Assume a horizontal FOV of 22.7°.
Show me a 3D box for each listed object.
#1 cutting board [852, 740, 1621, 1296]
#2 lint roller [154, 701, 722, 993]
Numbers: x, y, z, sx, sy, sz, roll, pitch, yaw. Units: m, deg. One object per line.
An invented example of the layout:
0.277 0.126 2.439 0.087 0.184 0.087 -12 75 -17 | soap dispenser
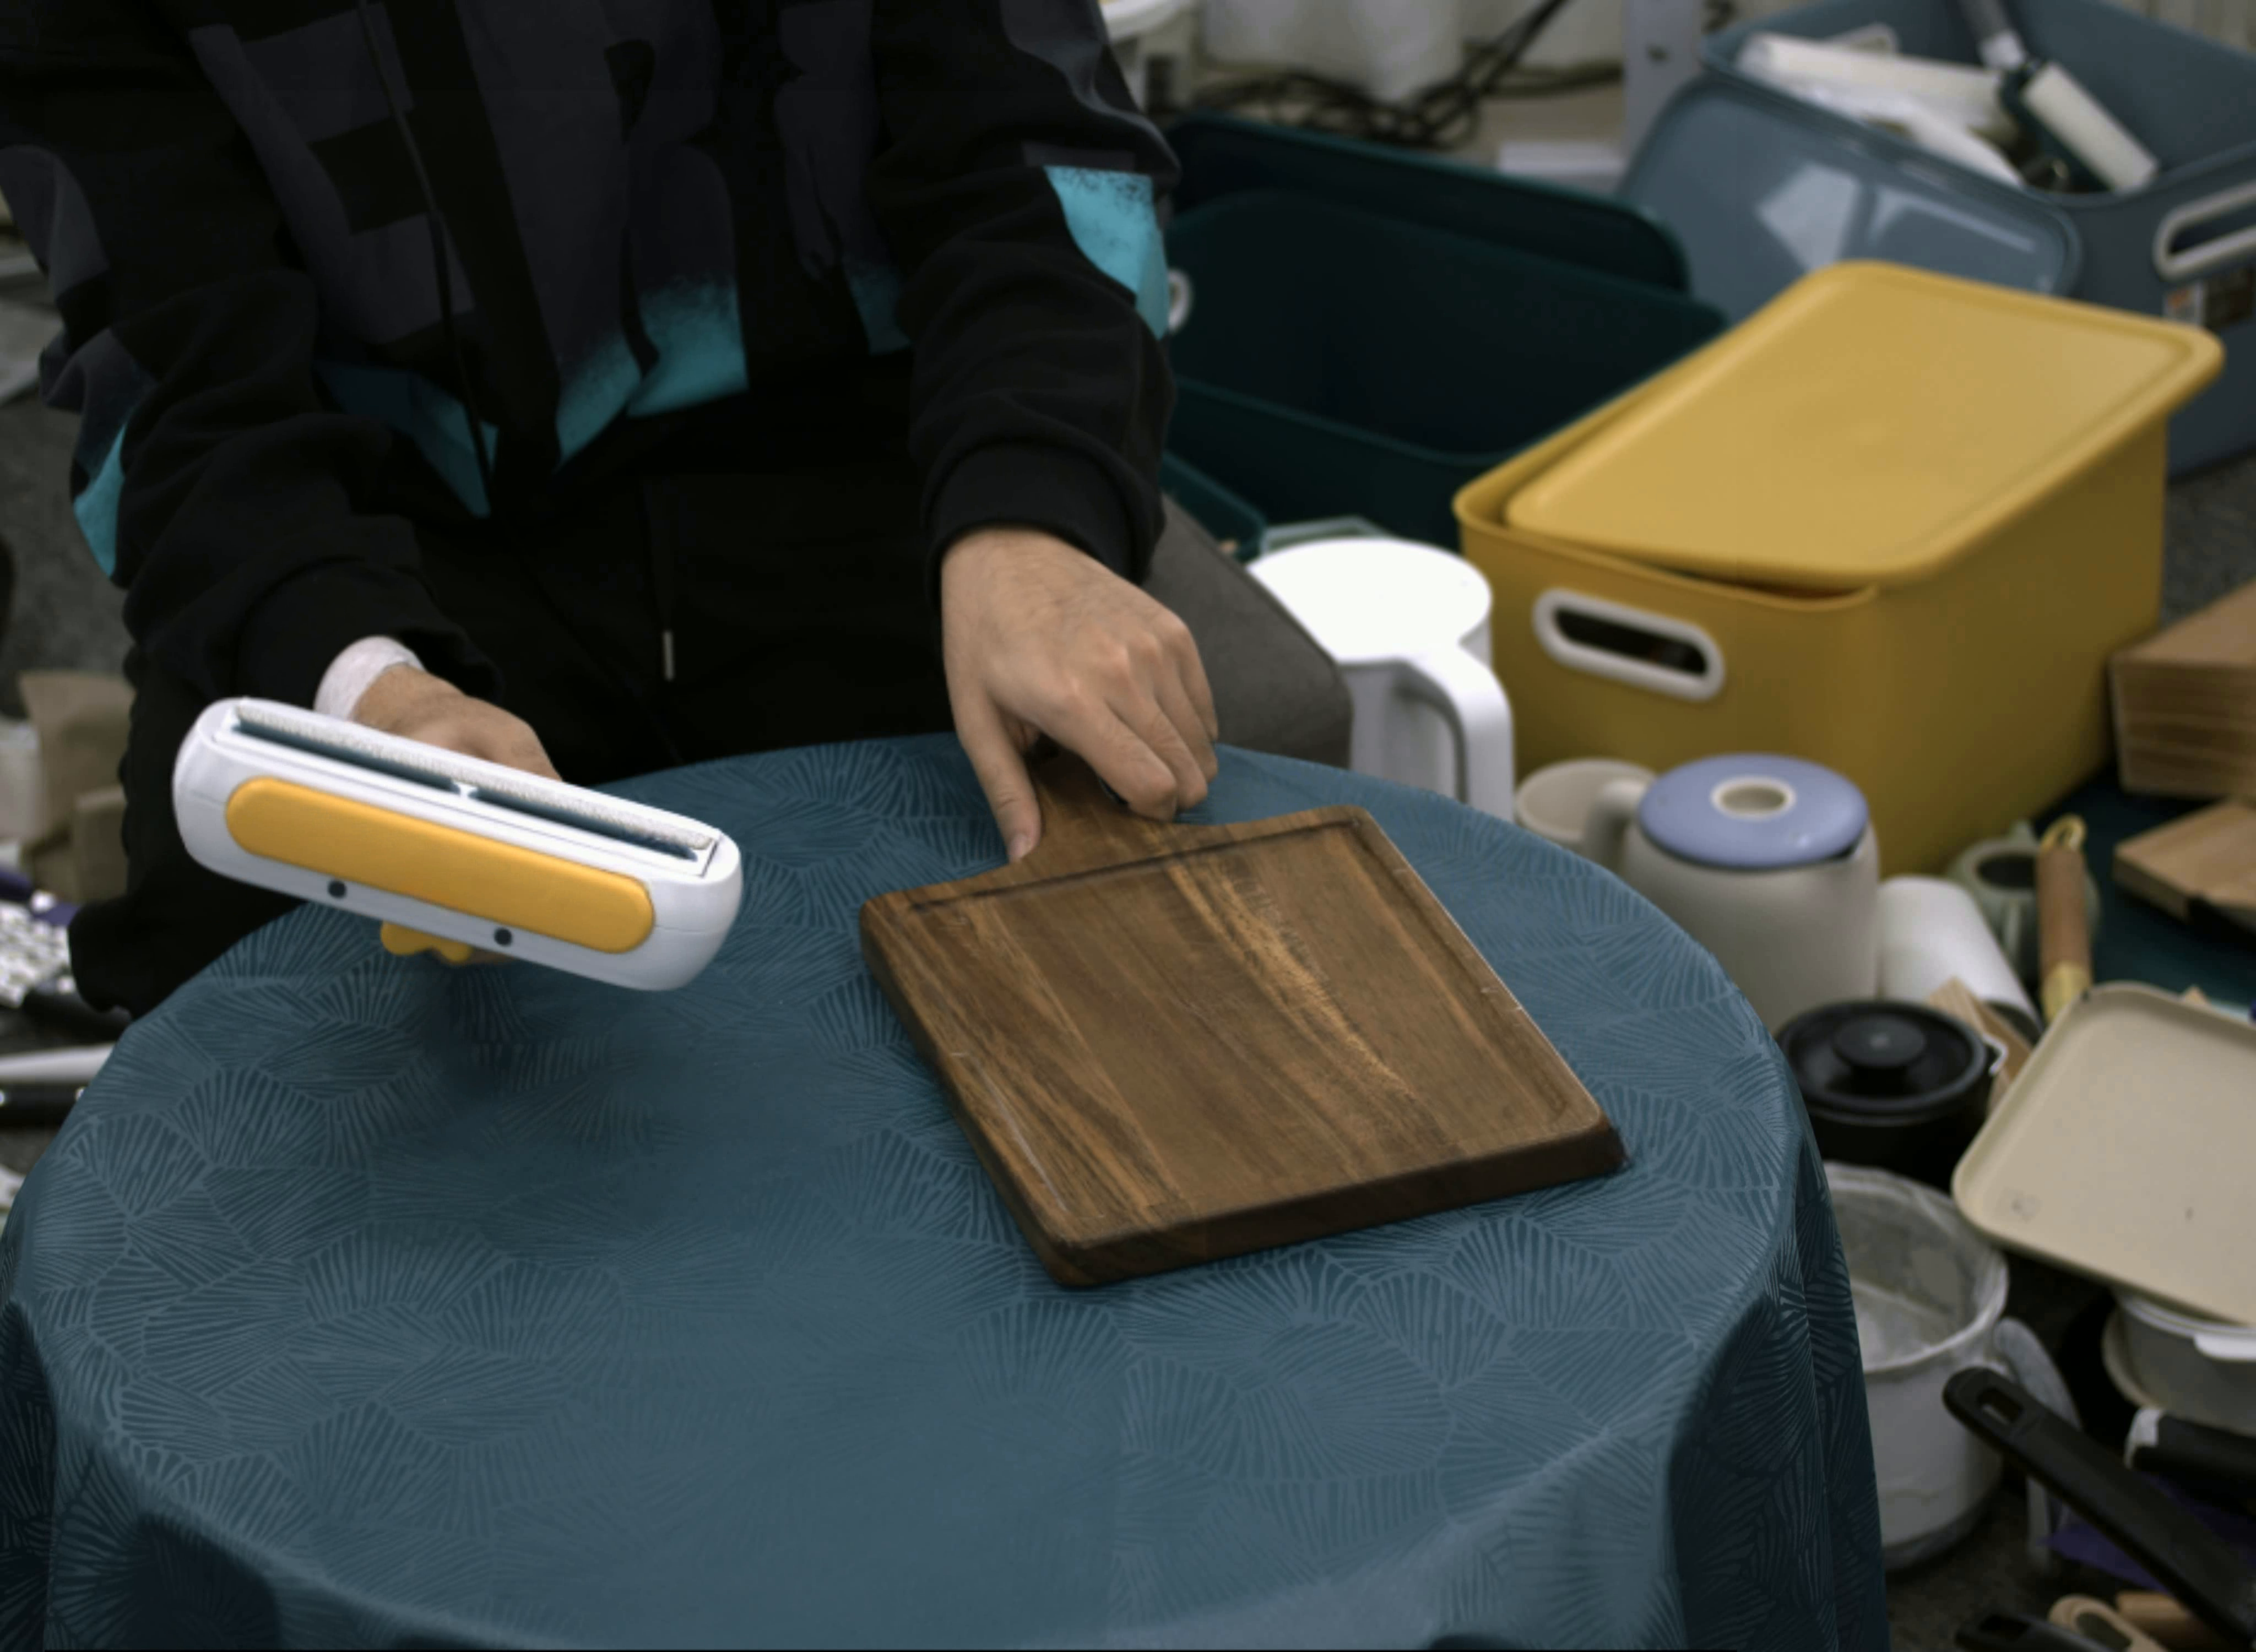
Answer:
0.017 0.051 1.974 0.201 0.023 0.355 -11 28 -15 | cutting board
-0.226 0.003 1.936 0.192 0.074 0.194 11 11 4 | lint roller
